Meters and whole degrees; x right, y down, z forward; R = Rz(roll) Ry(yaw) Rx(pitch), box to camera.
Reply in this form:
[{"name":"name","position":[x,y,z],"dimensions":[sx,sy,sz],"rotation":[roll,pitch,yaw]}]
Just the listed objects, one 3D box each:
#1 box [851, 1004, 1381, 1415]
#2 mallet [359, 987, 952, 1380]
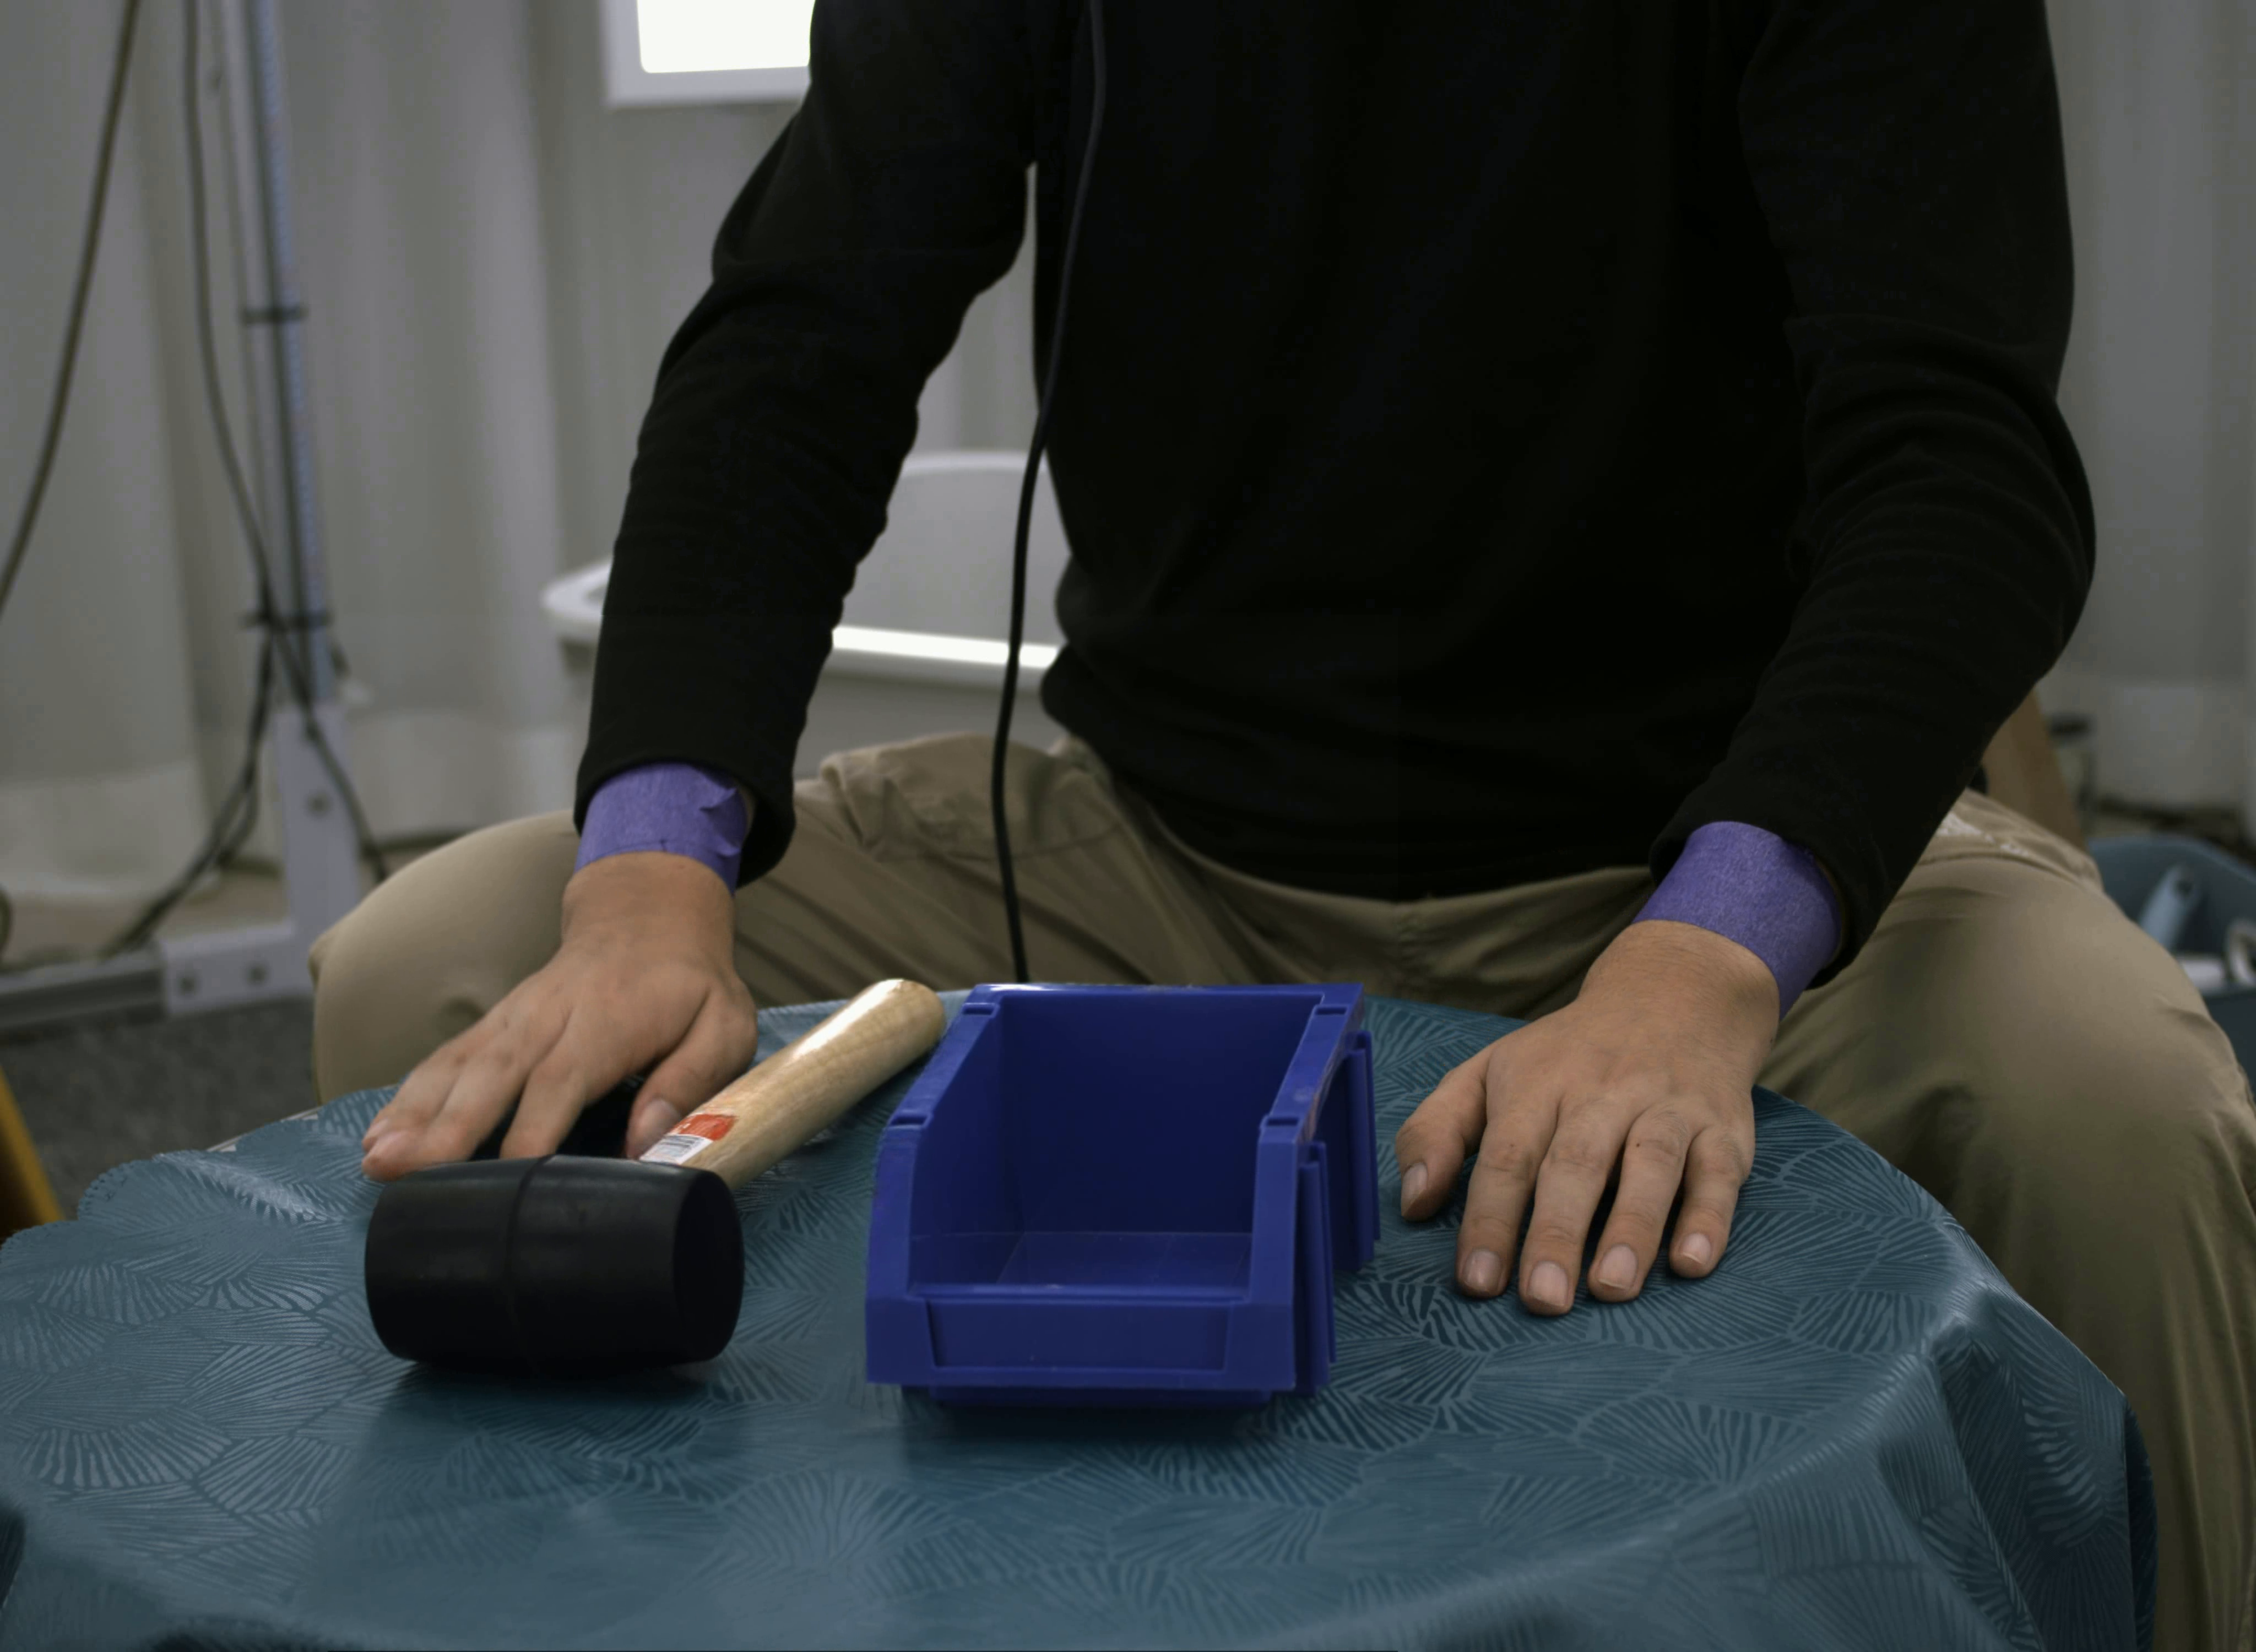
[{"name":"box","position":[0.000,0.112,1.569],"dimensions":[0.124,0.081,0.180],"rotation":[0,12,11]},{"name":"mallet","position":[-0.126,0.093,1.704],"dimensions":[0.102,0.064,0.340],"rotation":[2,15,18]}]
